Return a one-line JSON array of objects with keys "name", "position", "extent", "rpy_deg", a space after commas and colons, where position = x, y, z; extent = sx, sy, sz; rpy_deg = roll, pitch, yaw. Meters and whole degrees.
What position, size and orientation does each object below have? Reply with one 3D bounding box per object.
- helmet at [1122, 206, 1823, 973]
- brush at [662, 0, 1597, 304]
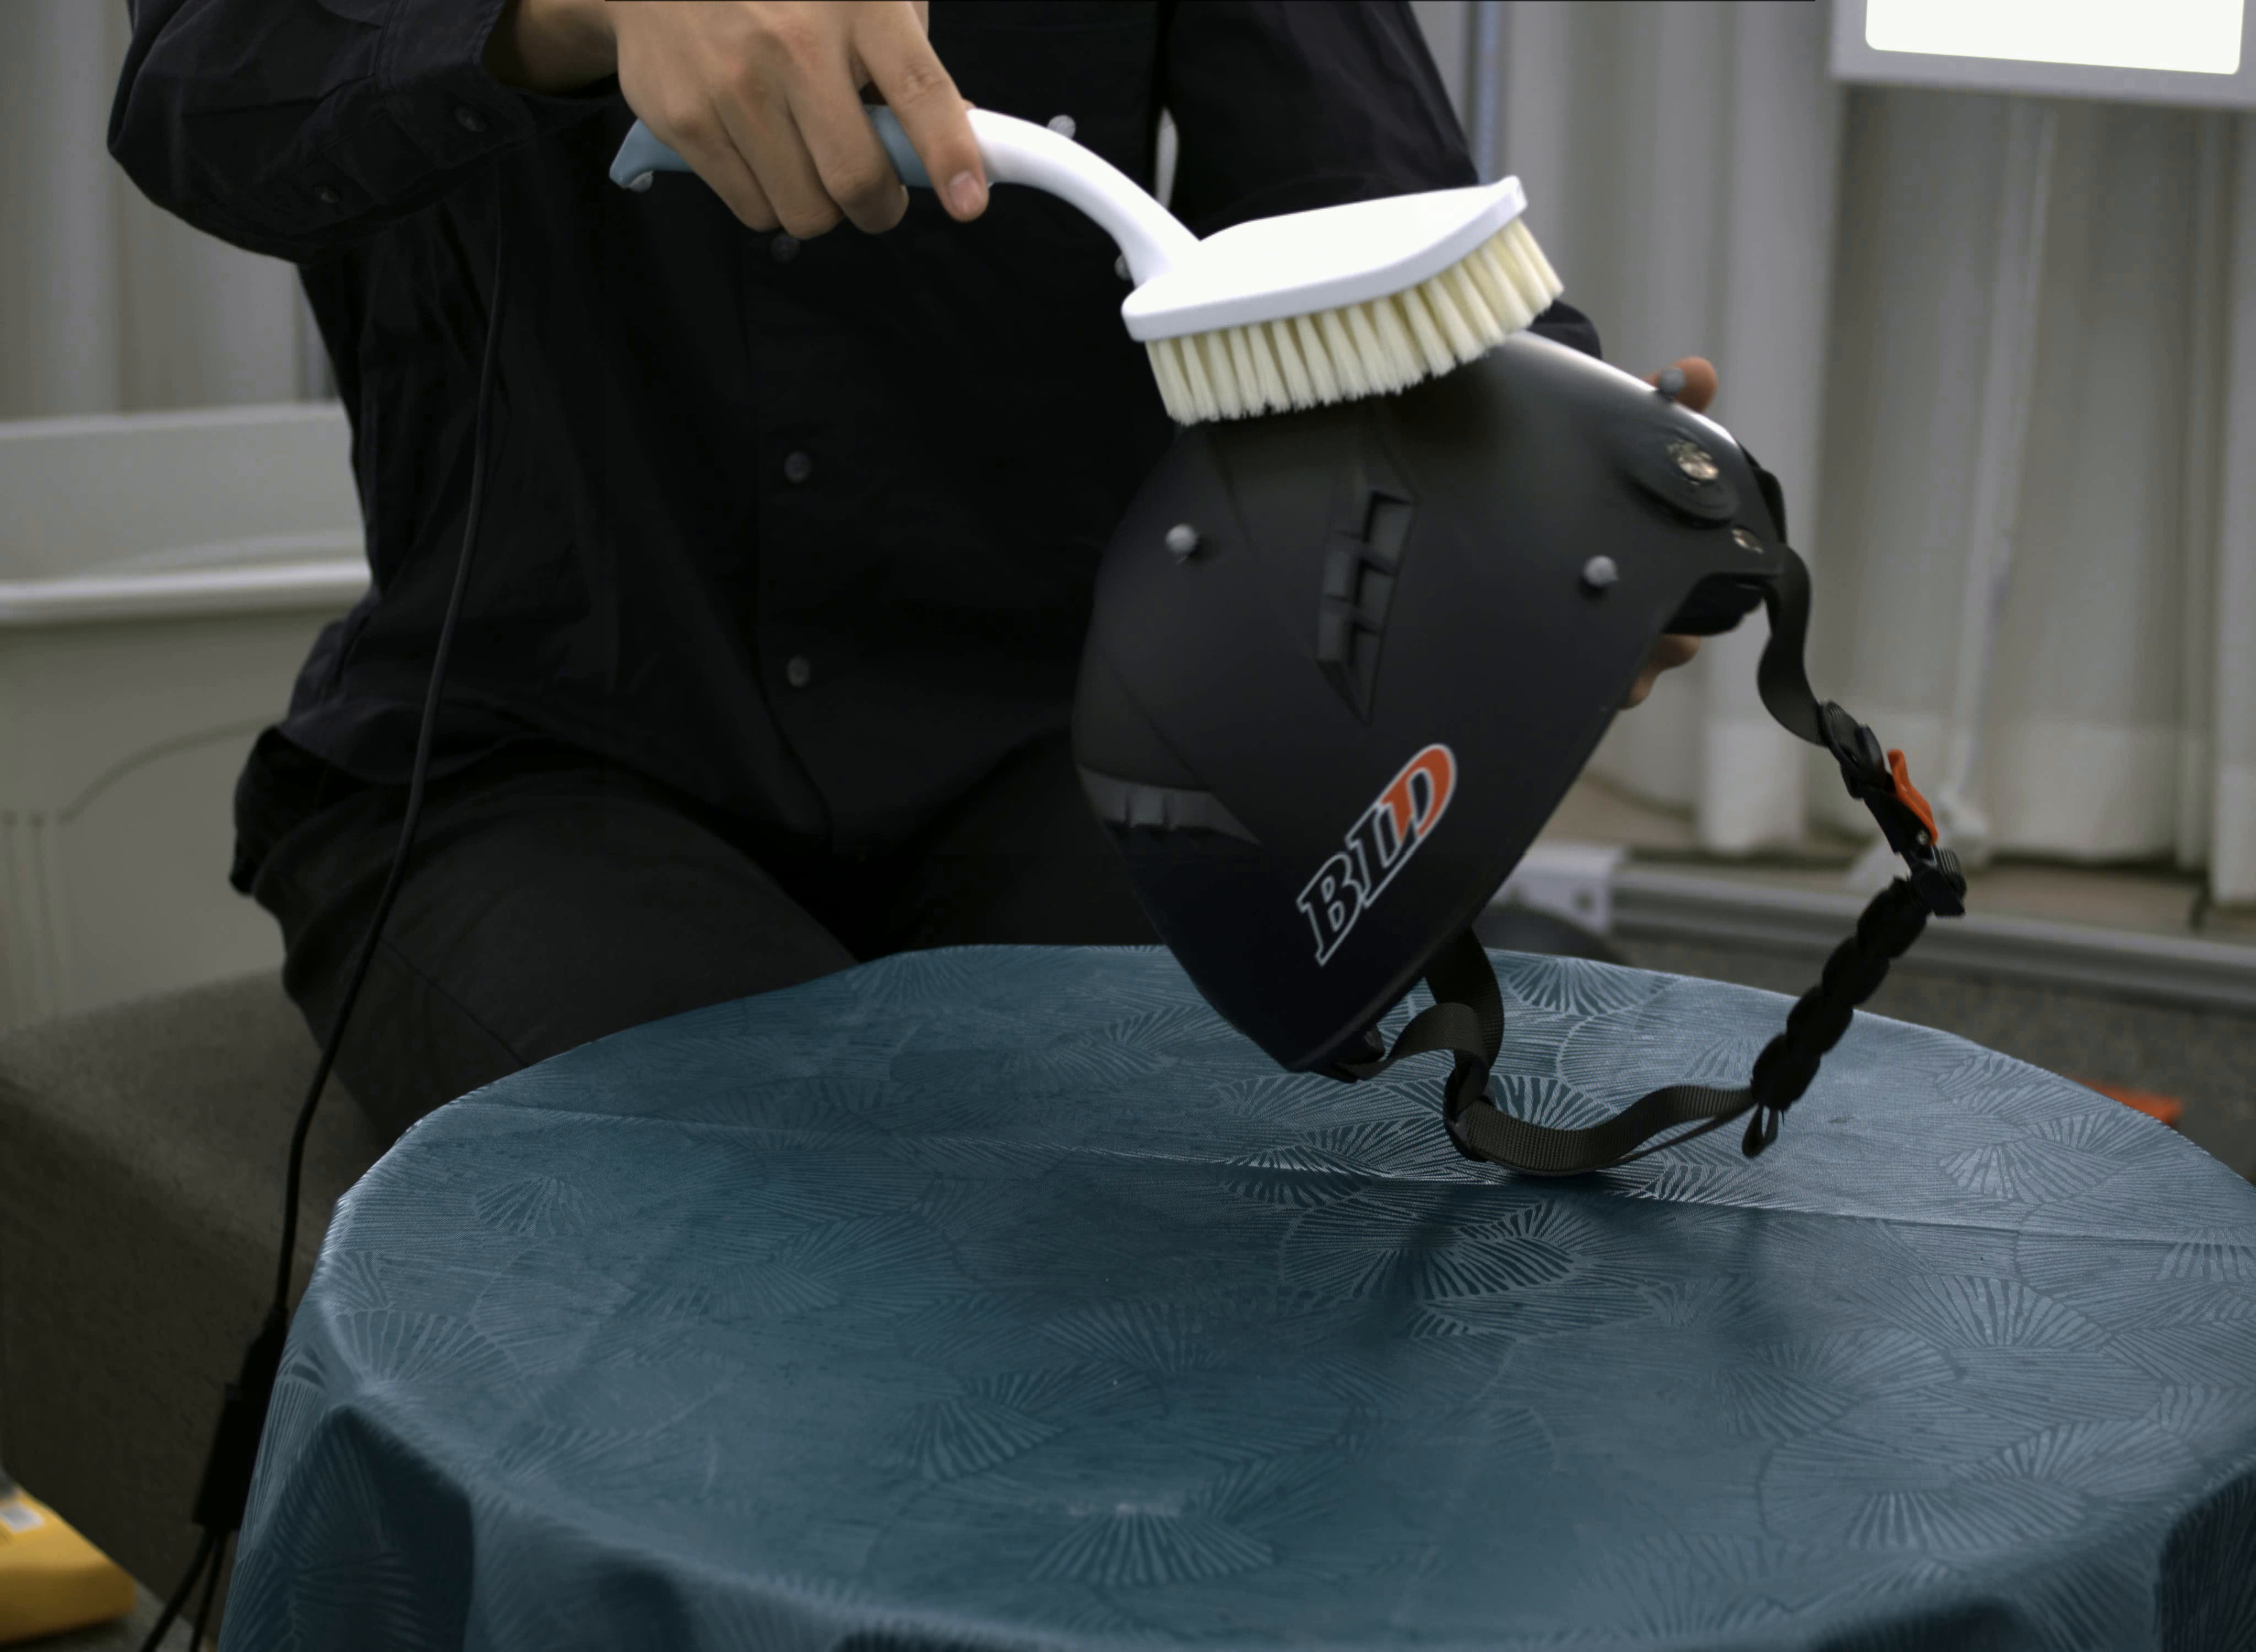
[{"name": "helmet", "position": [0.089, -0.093, 1.601], "extent": [0.173, 0.247, 0.275], "rpy_deg": [34, 25, -6]}, {"name": "brush", "position": [-0.002, -0.200, 1.595], "extent": [0.321, 0.084, 0.084], "rpy_deg": [8, -5, 32]}]
